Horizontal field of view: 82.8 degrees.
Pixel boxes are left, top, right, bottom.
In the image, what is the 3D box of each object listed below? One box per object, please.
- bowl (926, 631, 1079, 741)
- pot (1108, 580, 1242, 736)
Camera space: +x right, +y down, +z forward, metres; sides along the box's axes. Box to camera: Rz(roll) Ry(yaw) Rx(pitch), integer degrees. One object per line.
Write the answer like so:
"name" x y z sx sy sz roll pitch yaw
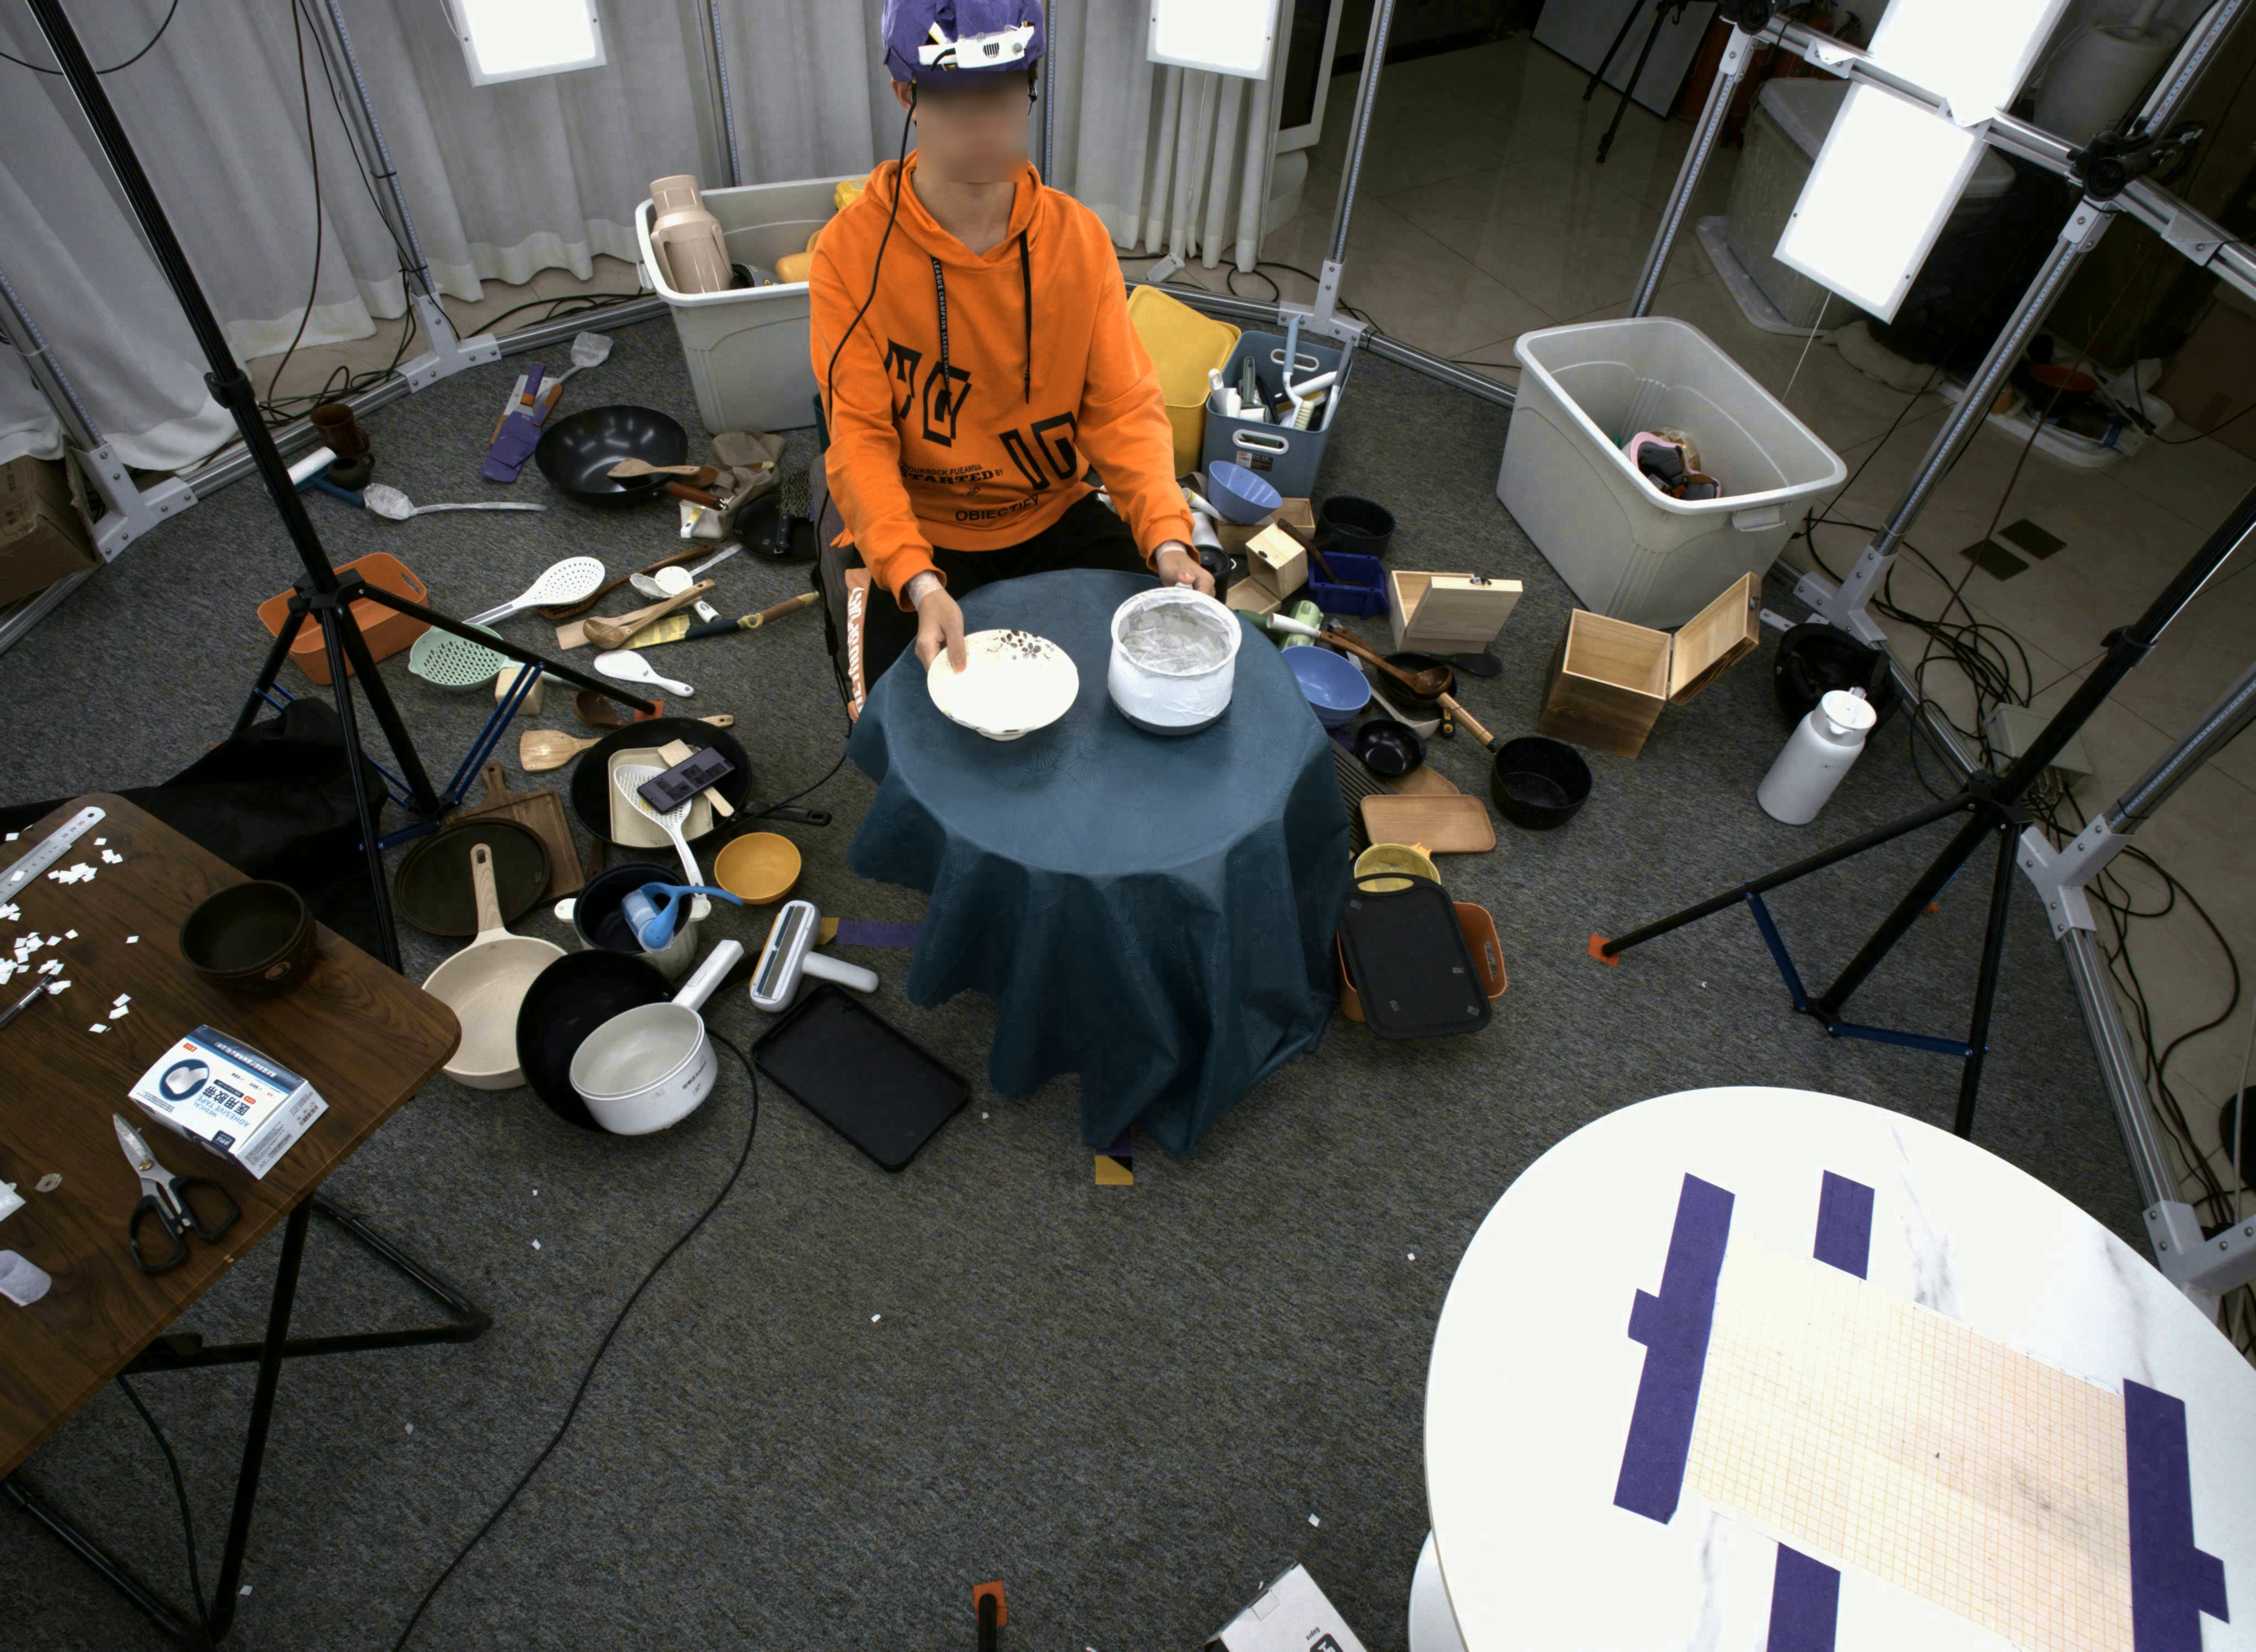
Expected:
"bowl" -0.171 -0.173 1.756 0.204 0.076 0.209 3 46 -3
"pot" 0.064 -0.245 1.797 0.179 0.133 0.239 7 49 2
